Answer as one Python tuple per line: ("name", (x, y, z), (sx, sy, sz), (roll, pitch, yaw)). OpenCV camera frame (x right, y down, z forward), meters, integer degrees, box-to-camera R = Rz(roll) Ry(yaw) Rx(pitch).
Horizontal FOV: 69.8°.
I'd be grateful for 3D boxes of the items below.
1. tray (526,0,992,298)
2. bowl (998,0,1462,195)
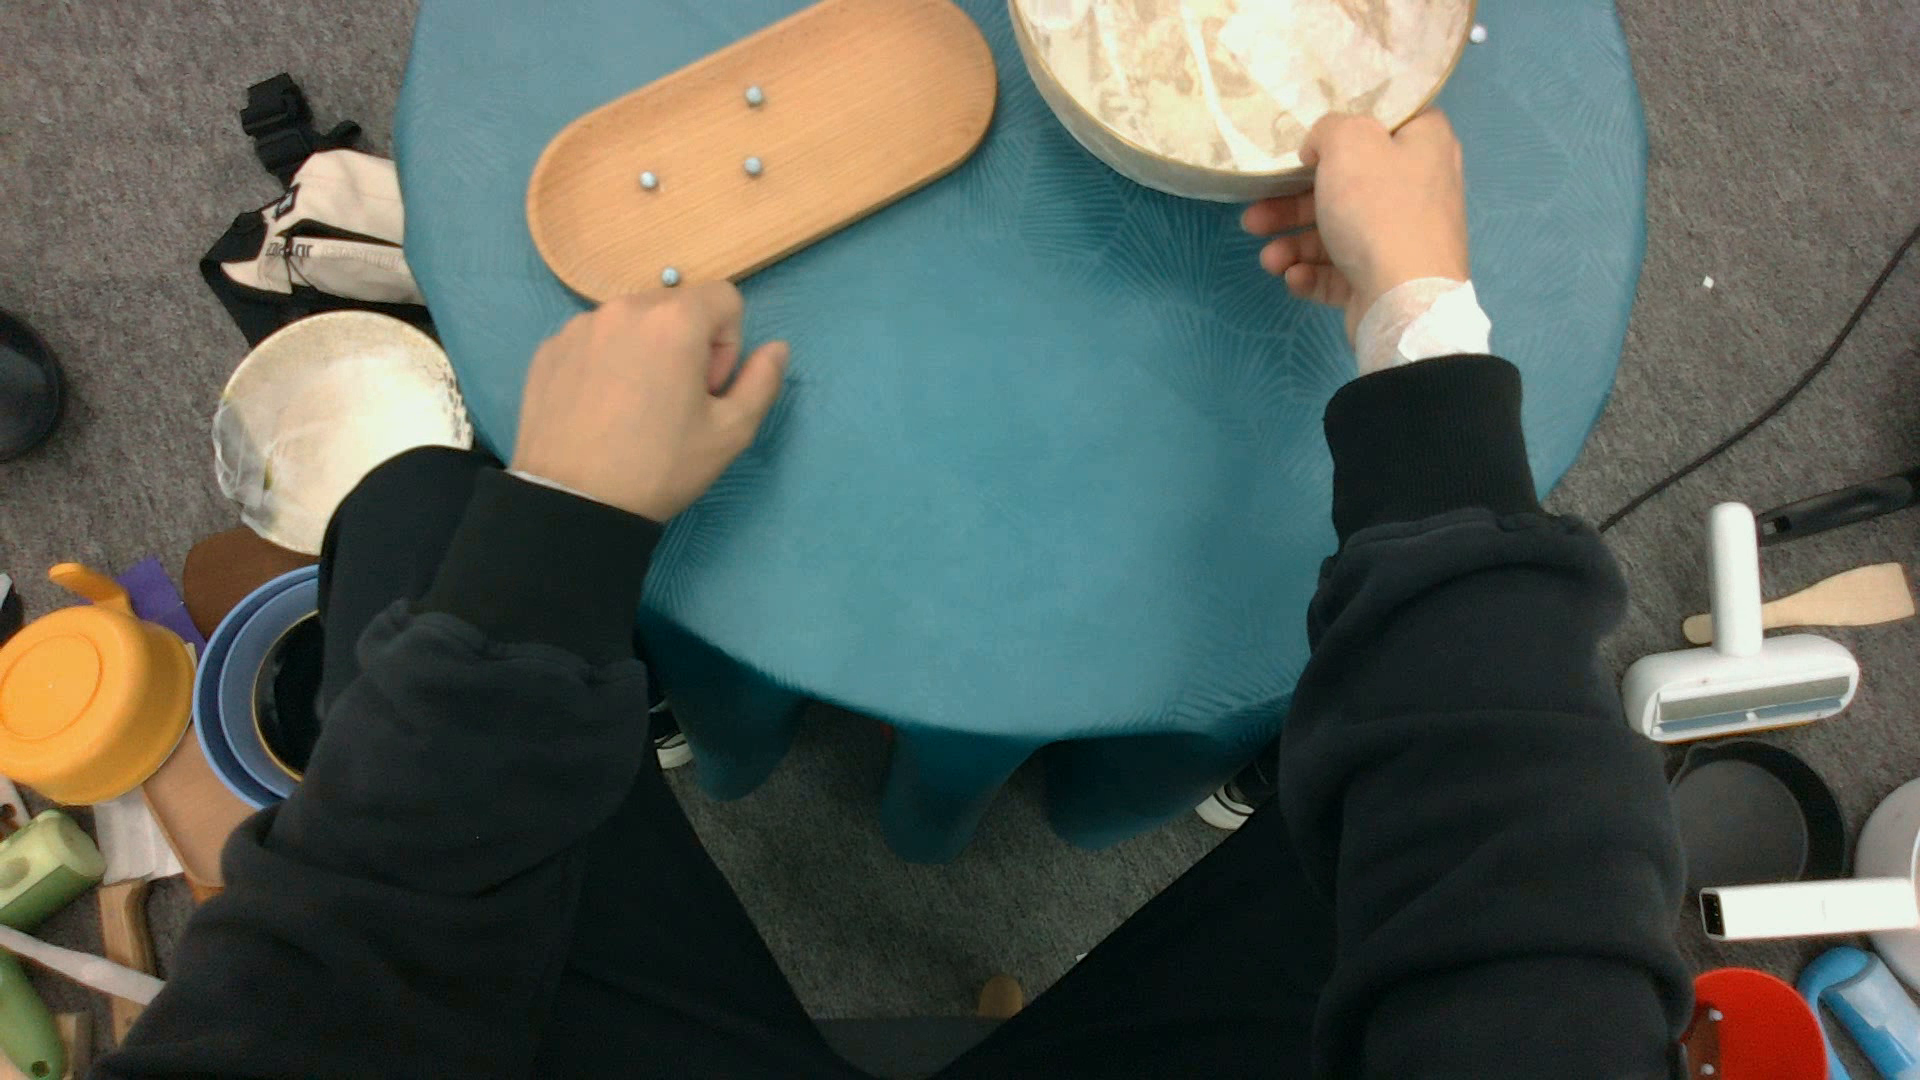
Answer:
("tray", (-0.092, -0.192, 0.647), (0.231, 0.020, 0.102), (-30, 84, -11))
("bowl", (0.112, -0.242, 0.630), (0.215, 0.094, 0.215), (0, 80, -2))
